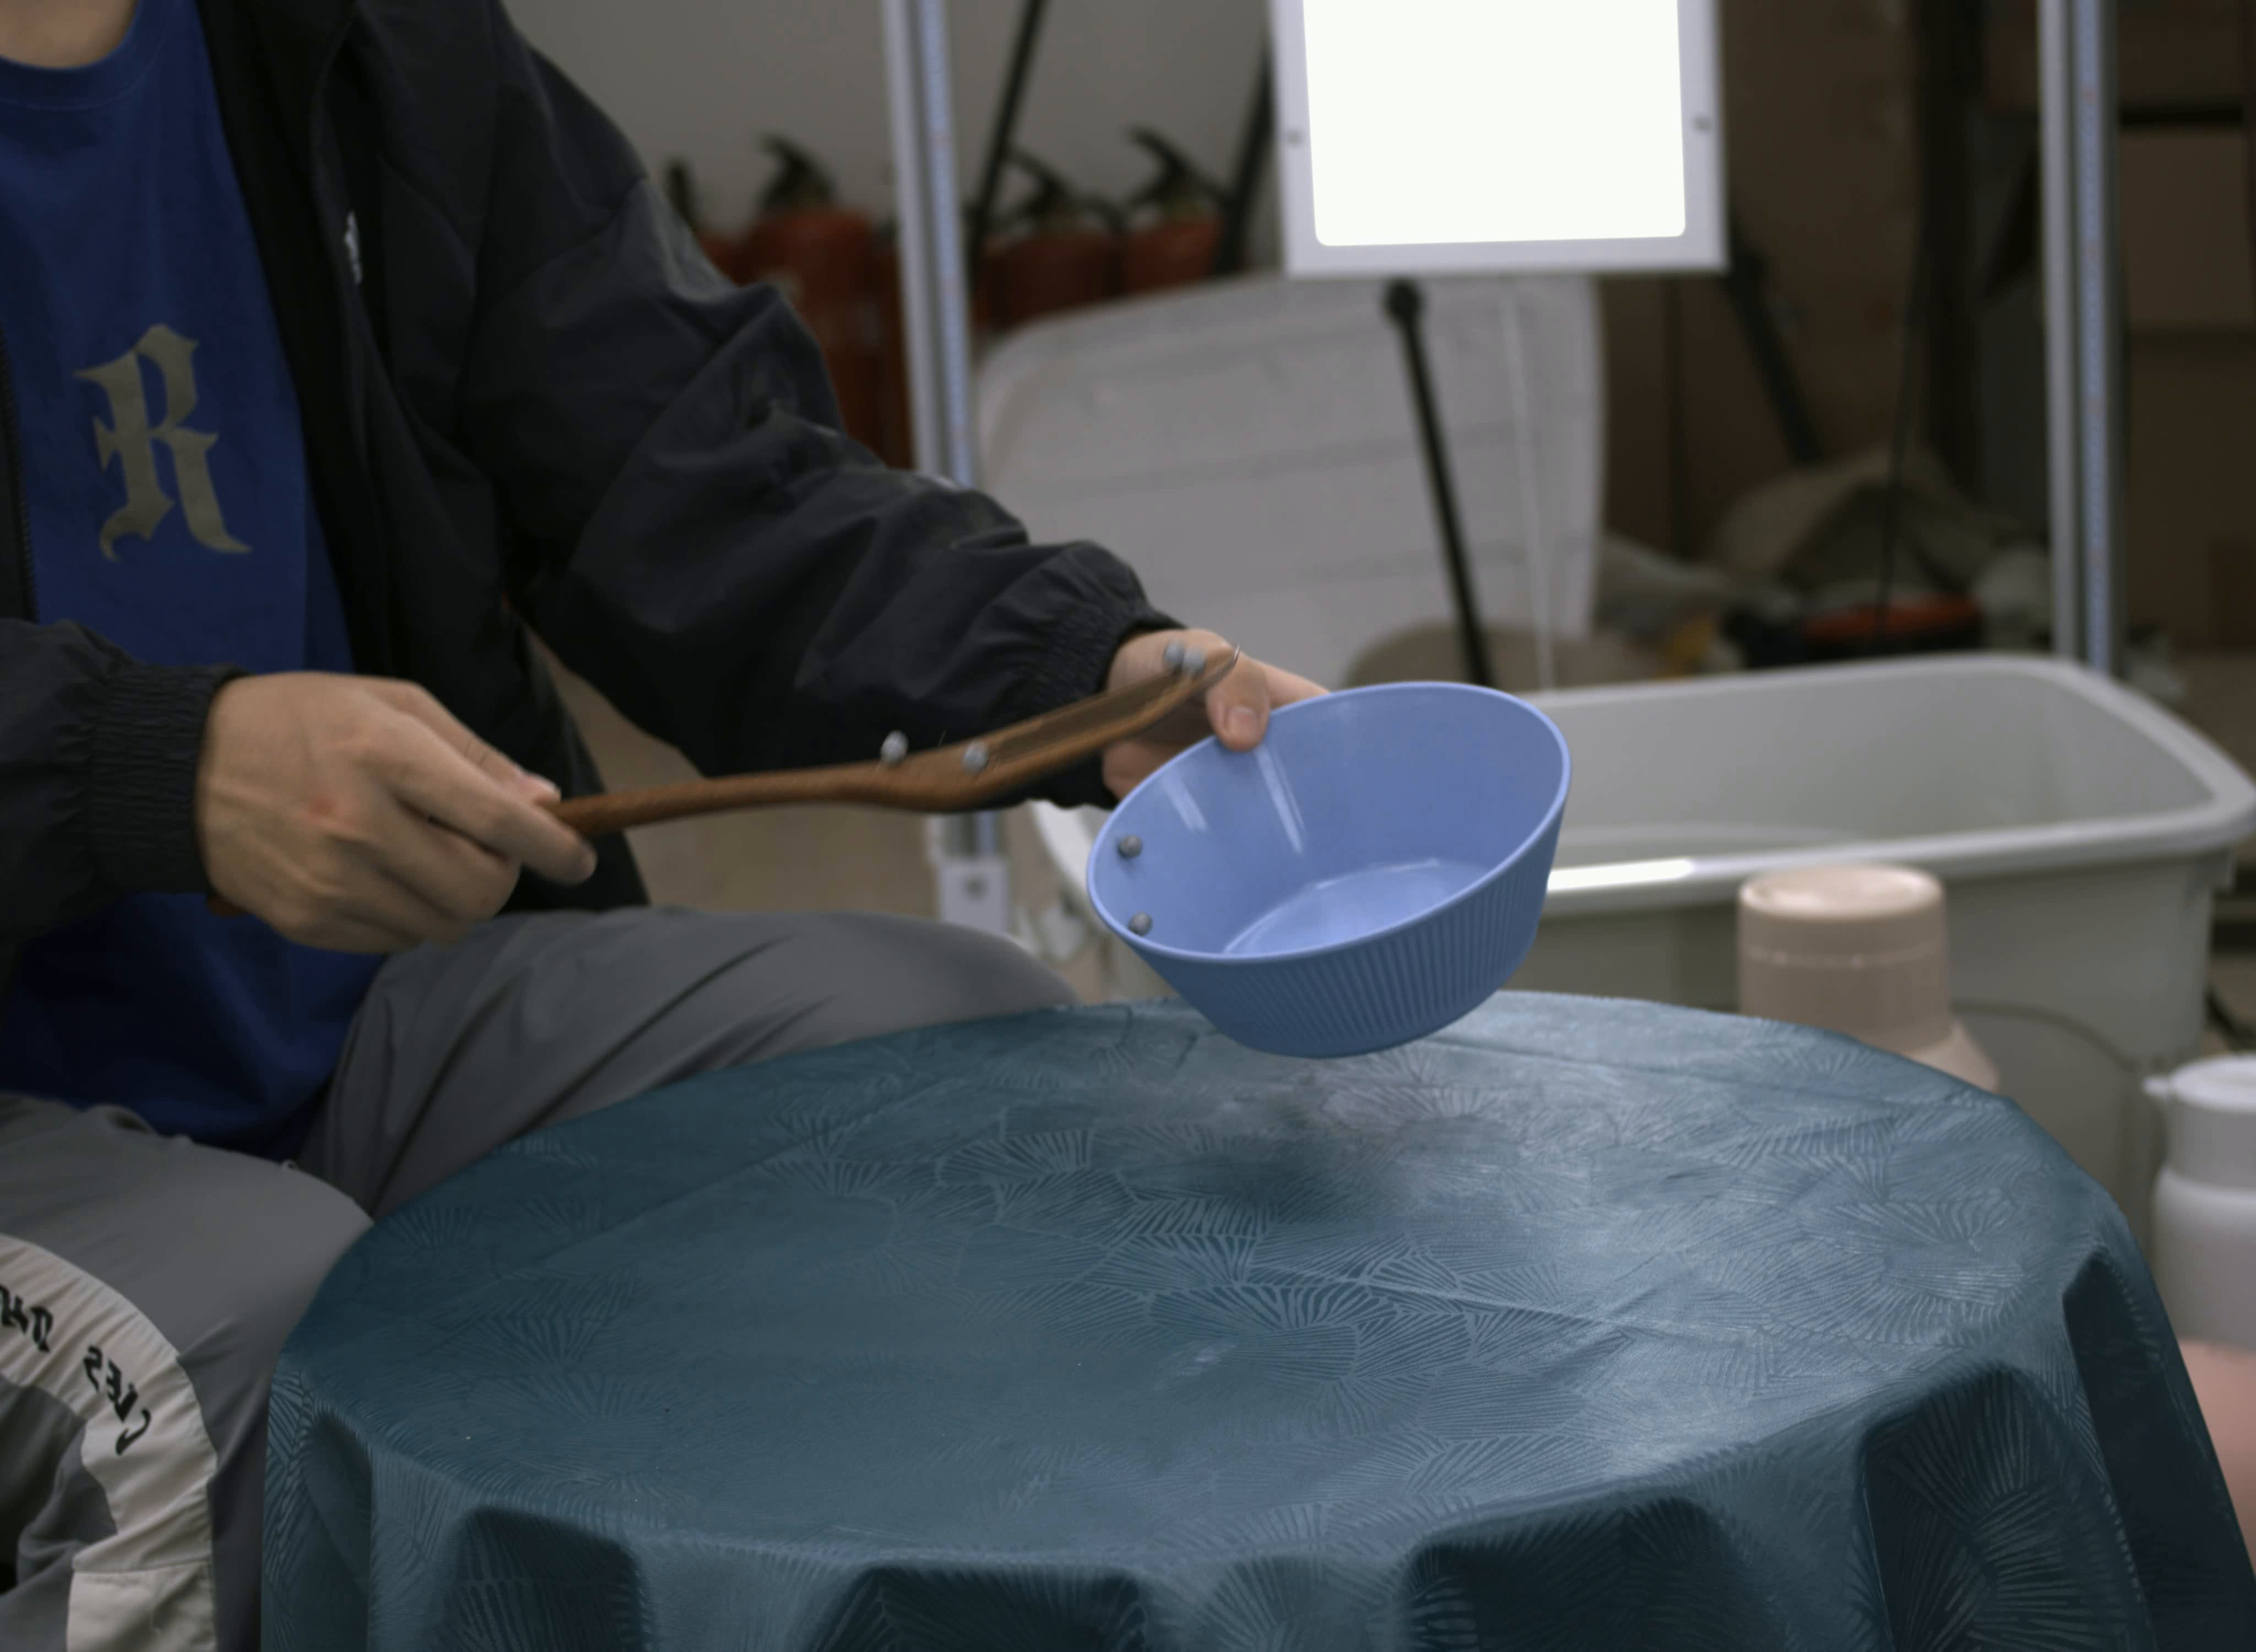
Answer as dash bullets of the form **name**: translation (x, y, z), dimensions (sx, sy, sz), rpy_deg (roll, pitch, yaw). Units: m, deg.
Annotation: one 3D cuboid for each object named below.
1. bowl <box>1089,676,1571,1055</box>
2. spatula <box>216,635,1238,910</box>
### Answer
- **bowl**: translation (0.079, 0.021, 1.933), dimensions (0.177, 0.070, 0.175), rpy_deg (-16, 28, 8)
- **spatula**: translation (-0.141, -0.010, 1.825), dimensions (0.393, 0.024, 0.084), rpy_deg (-11, 13, 26)
